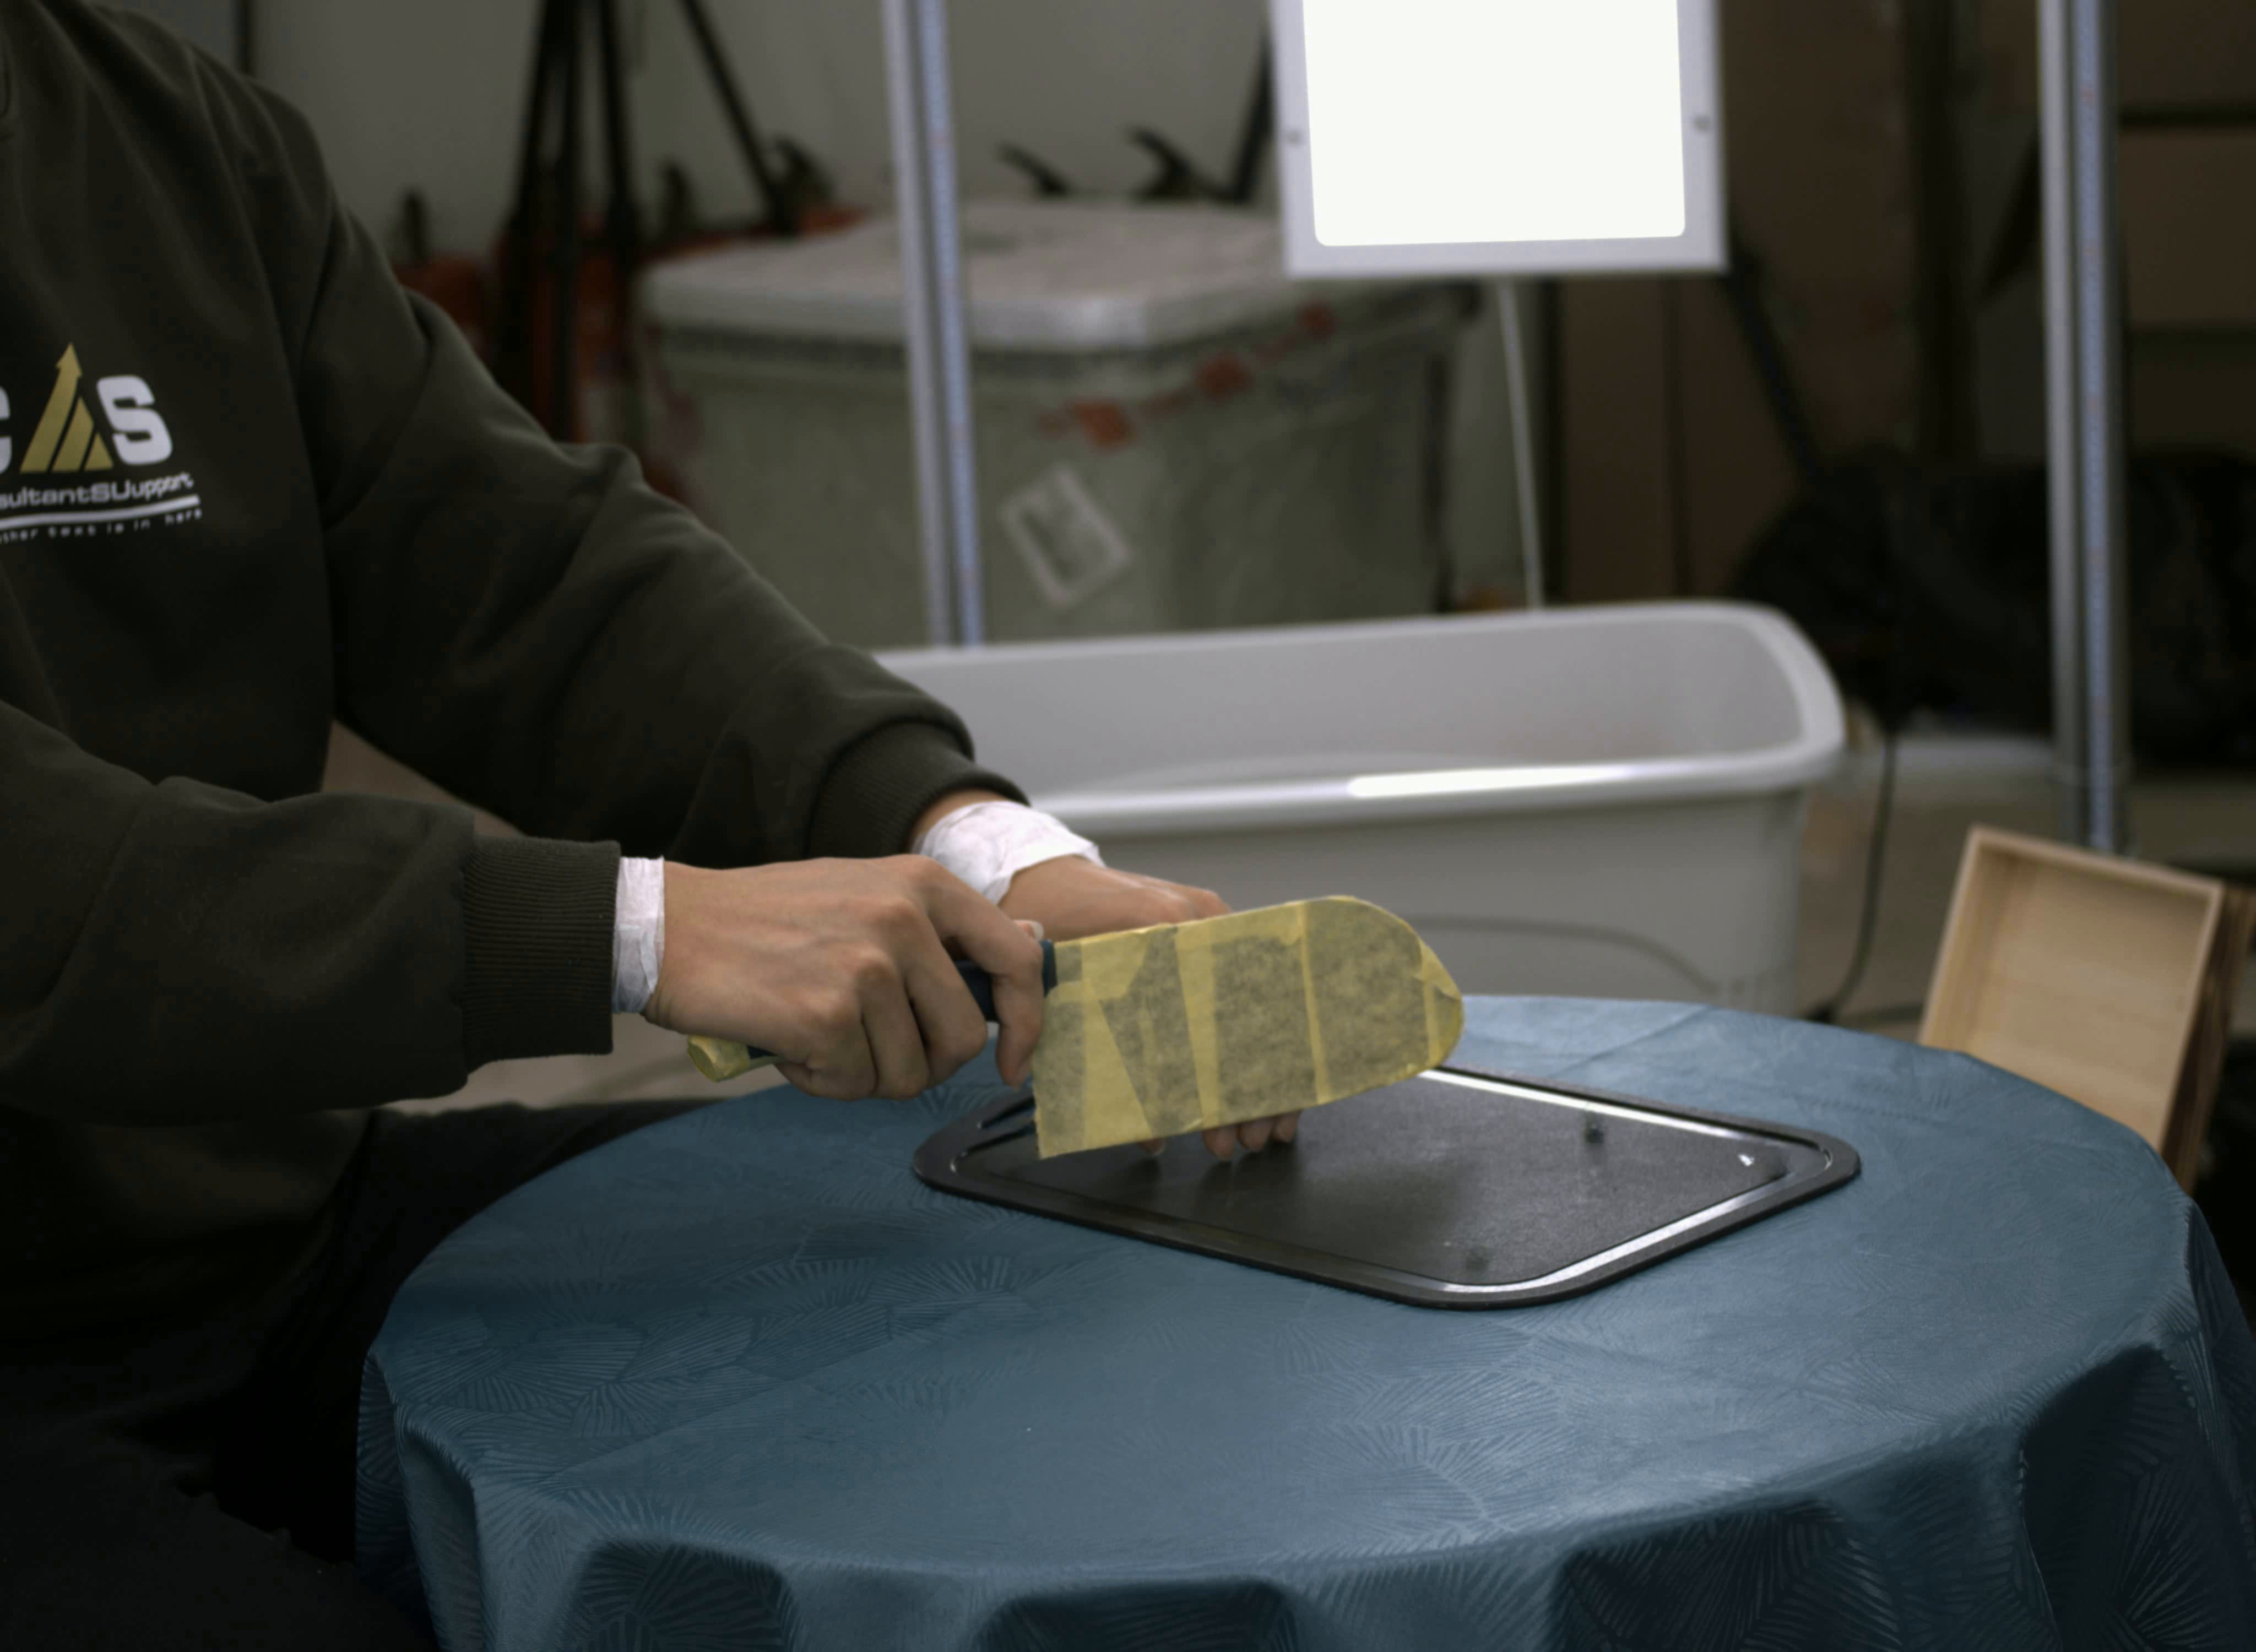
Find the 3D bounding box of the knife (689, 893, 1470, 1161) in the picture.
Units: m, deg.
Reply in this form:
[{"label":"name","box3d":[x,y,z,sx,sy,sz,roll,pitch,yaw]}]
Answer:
[{"label":"knife","box3d":[-0.012,0.073,1.894,0.284,0.081,0.027,-6,1,-19]}]

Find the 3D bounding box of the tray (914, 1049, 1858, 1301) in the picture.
[{"label":"tray","box3d":[0.080,0.113,1.912,0.206,0.010,0.332,-17,18,-41]}]
